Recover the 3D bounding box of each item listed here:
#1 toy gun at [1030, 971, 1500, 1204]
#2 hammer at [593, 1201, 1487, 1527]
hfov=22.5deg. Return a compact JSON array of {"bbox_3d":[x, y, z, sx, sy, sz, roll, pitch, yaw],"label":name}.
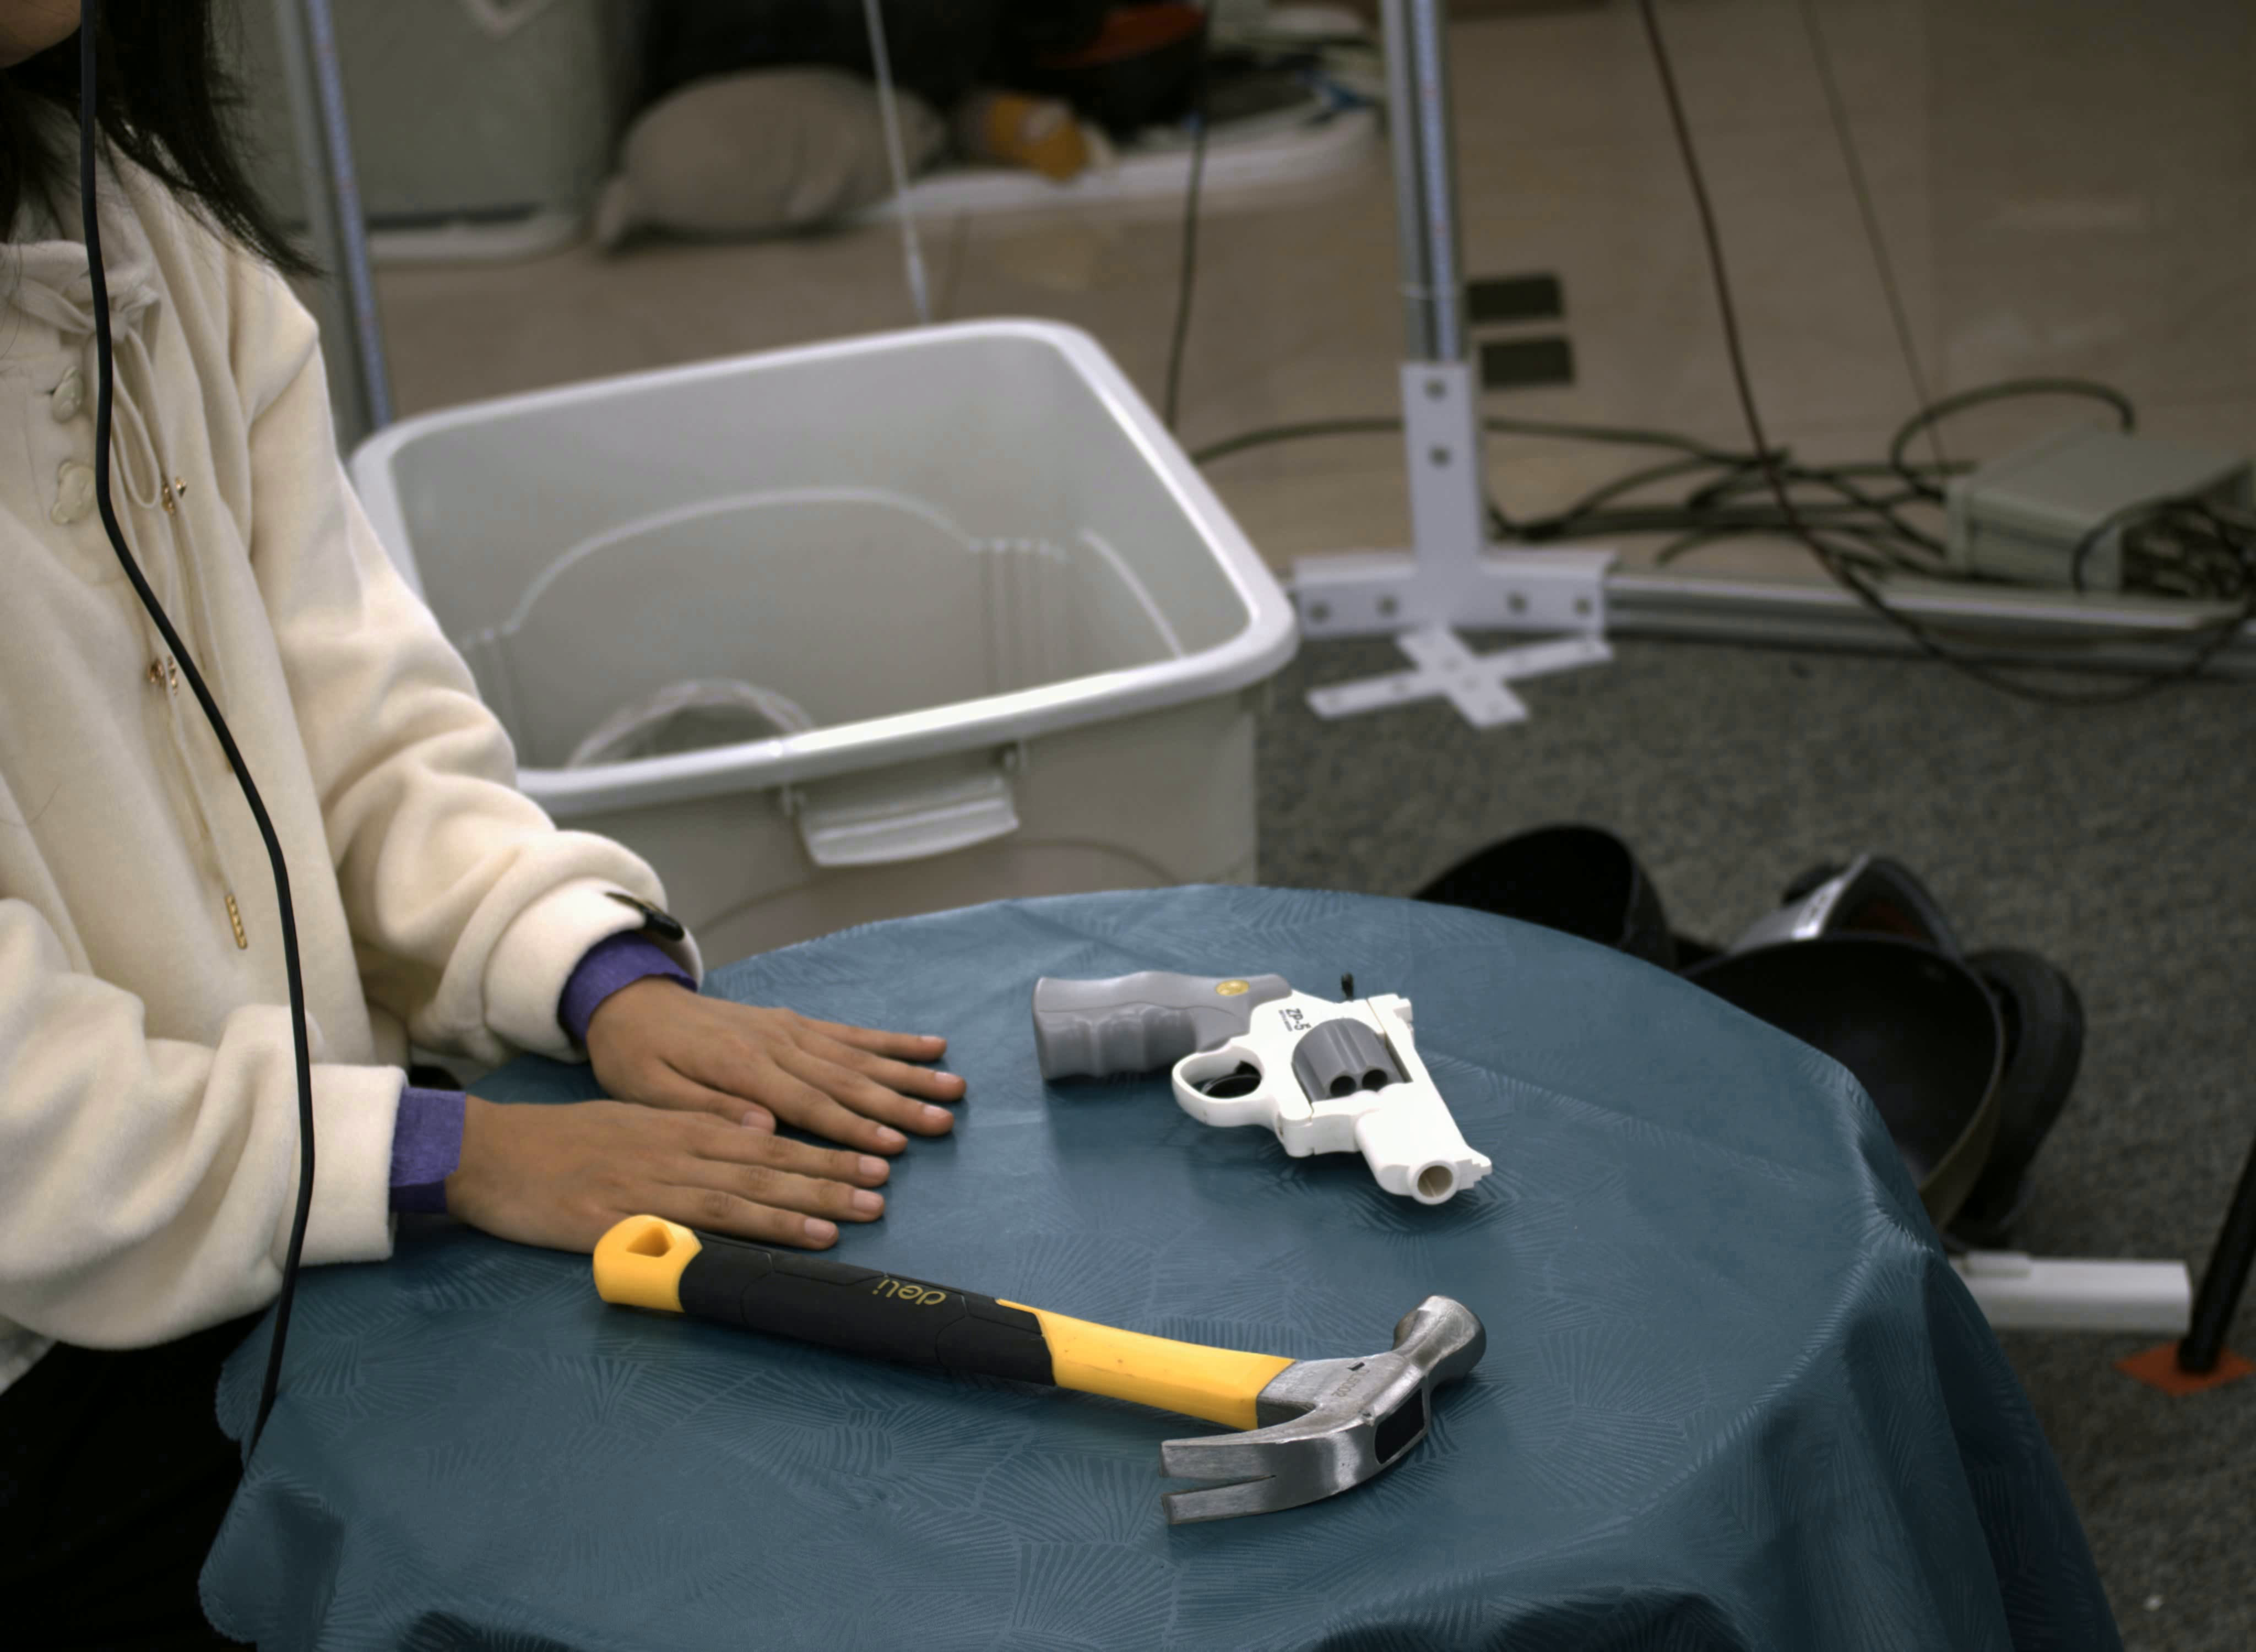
[{"bbox_3d":[0.048,0.098,2.176,0.141,0.039,0.206,-10,25,-10],"label":"toy gun"},{"bbox_3d":[-0.049,0.179,2.030,0.337,0.033,0.130,10,32,30],"label":"hammer"}]
